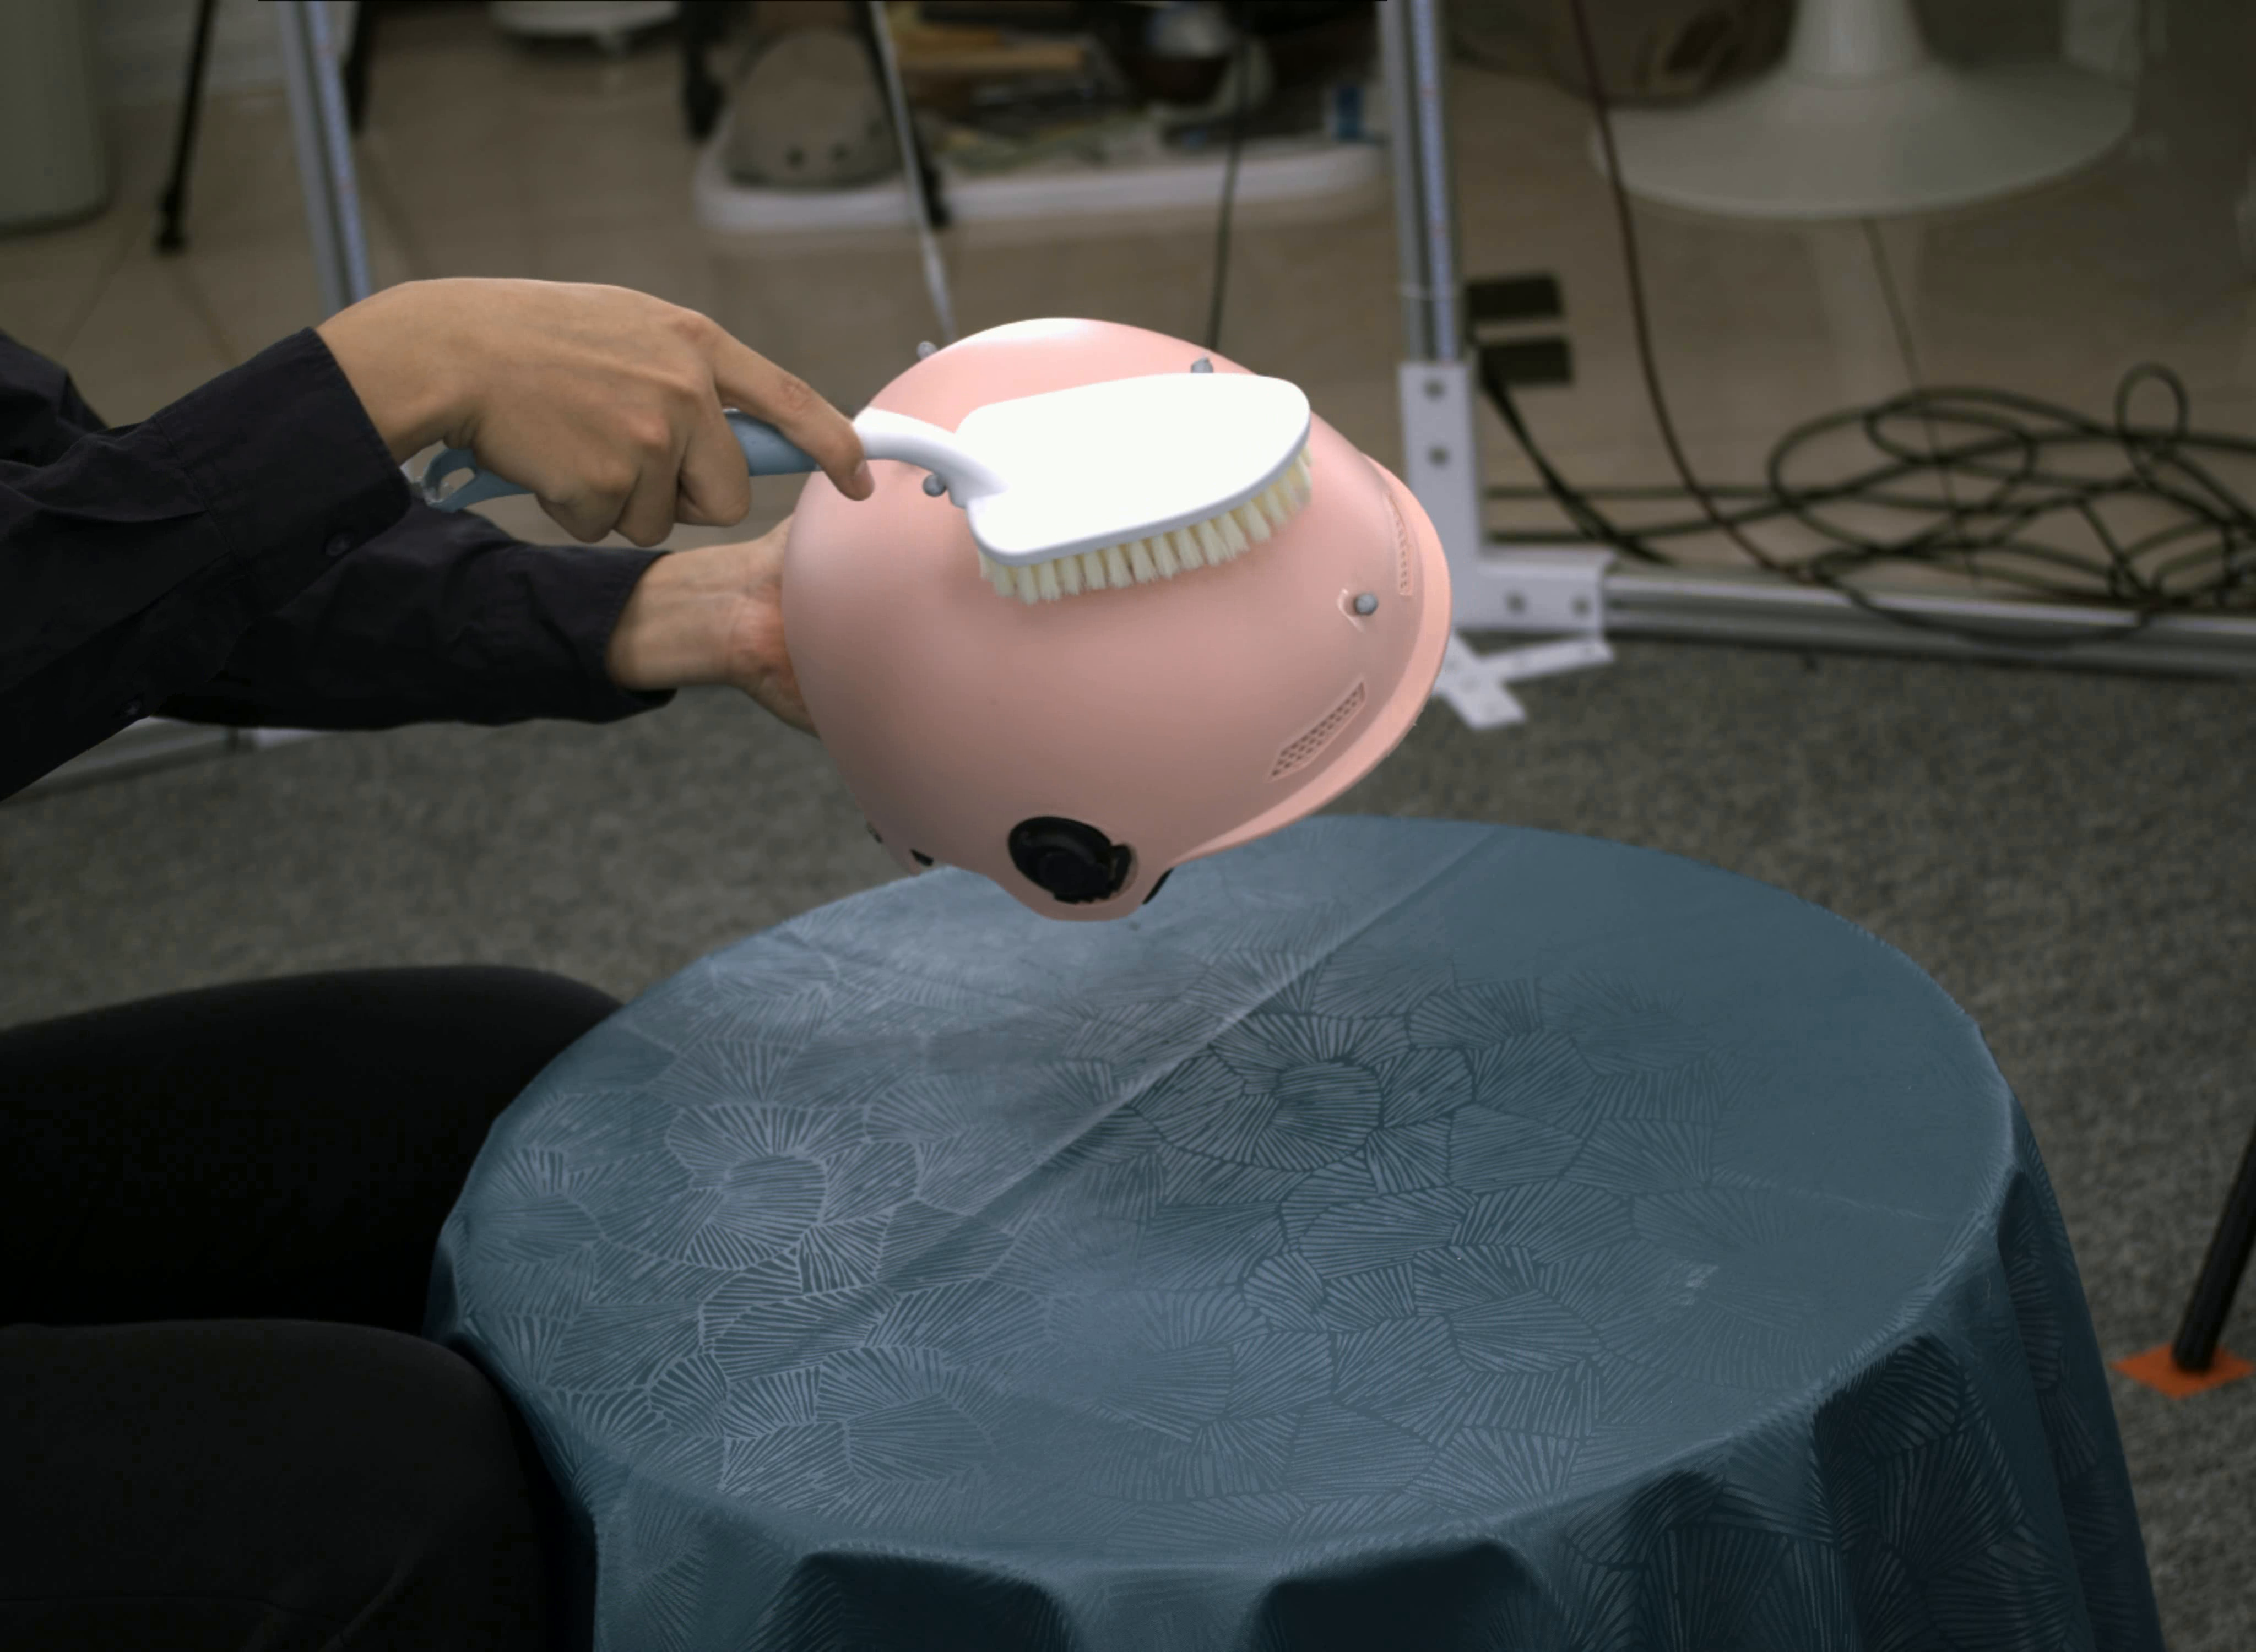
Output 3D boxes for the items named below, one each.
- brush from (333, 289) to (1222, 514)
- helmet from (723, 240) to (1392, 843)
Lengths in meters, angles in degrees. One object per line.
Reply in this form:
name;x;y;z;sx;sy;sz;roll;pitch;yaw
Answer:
brush;-0.125;-0.153;2.038;0.325;0.086;0.082;-5;22;-13
helmet;-0.045;-0.129;2.160;0.265;0.161;0.231;5;60;33
